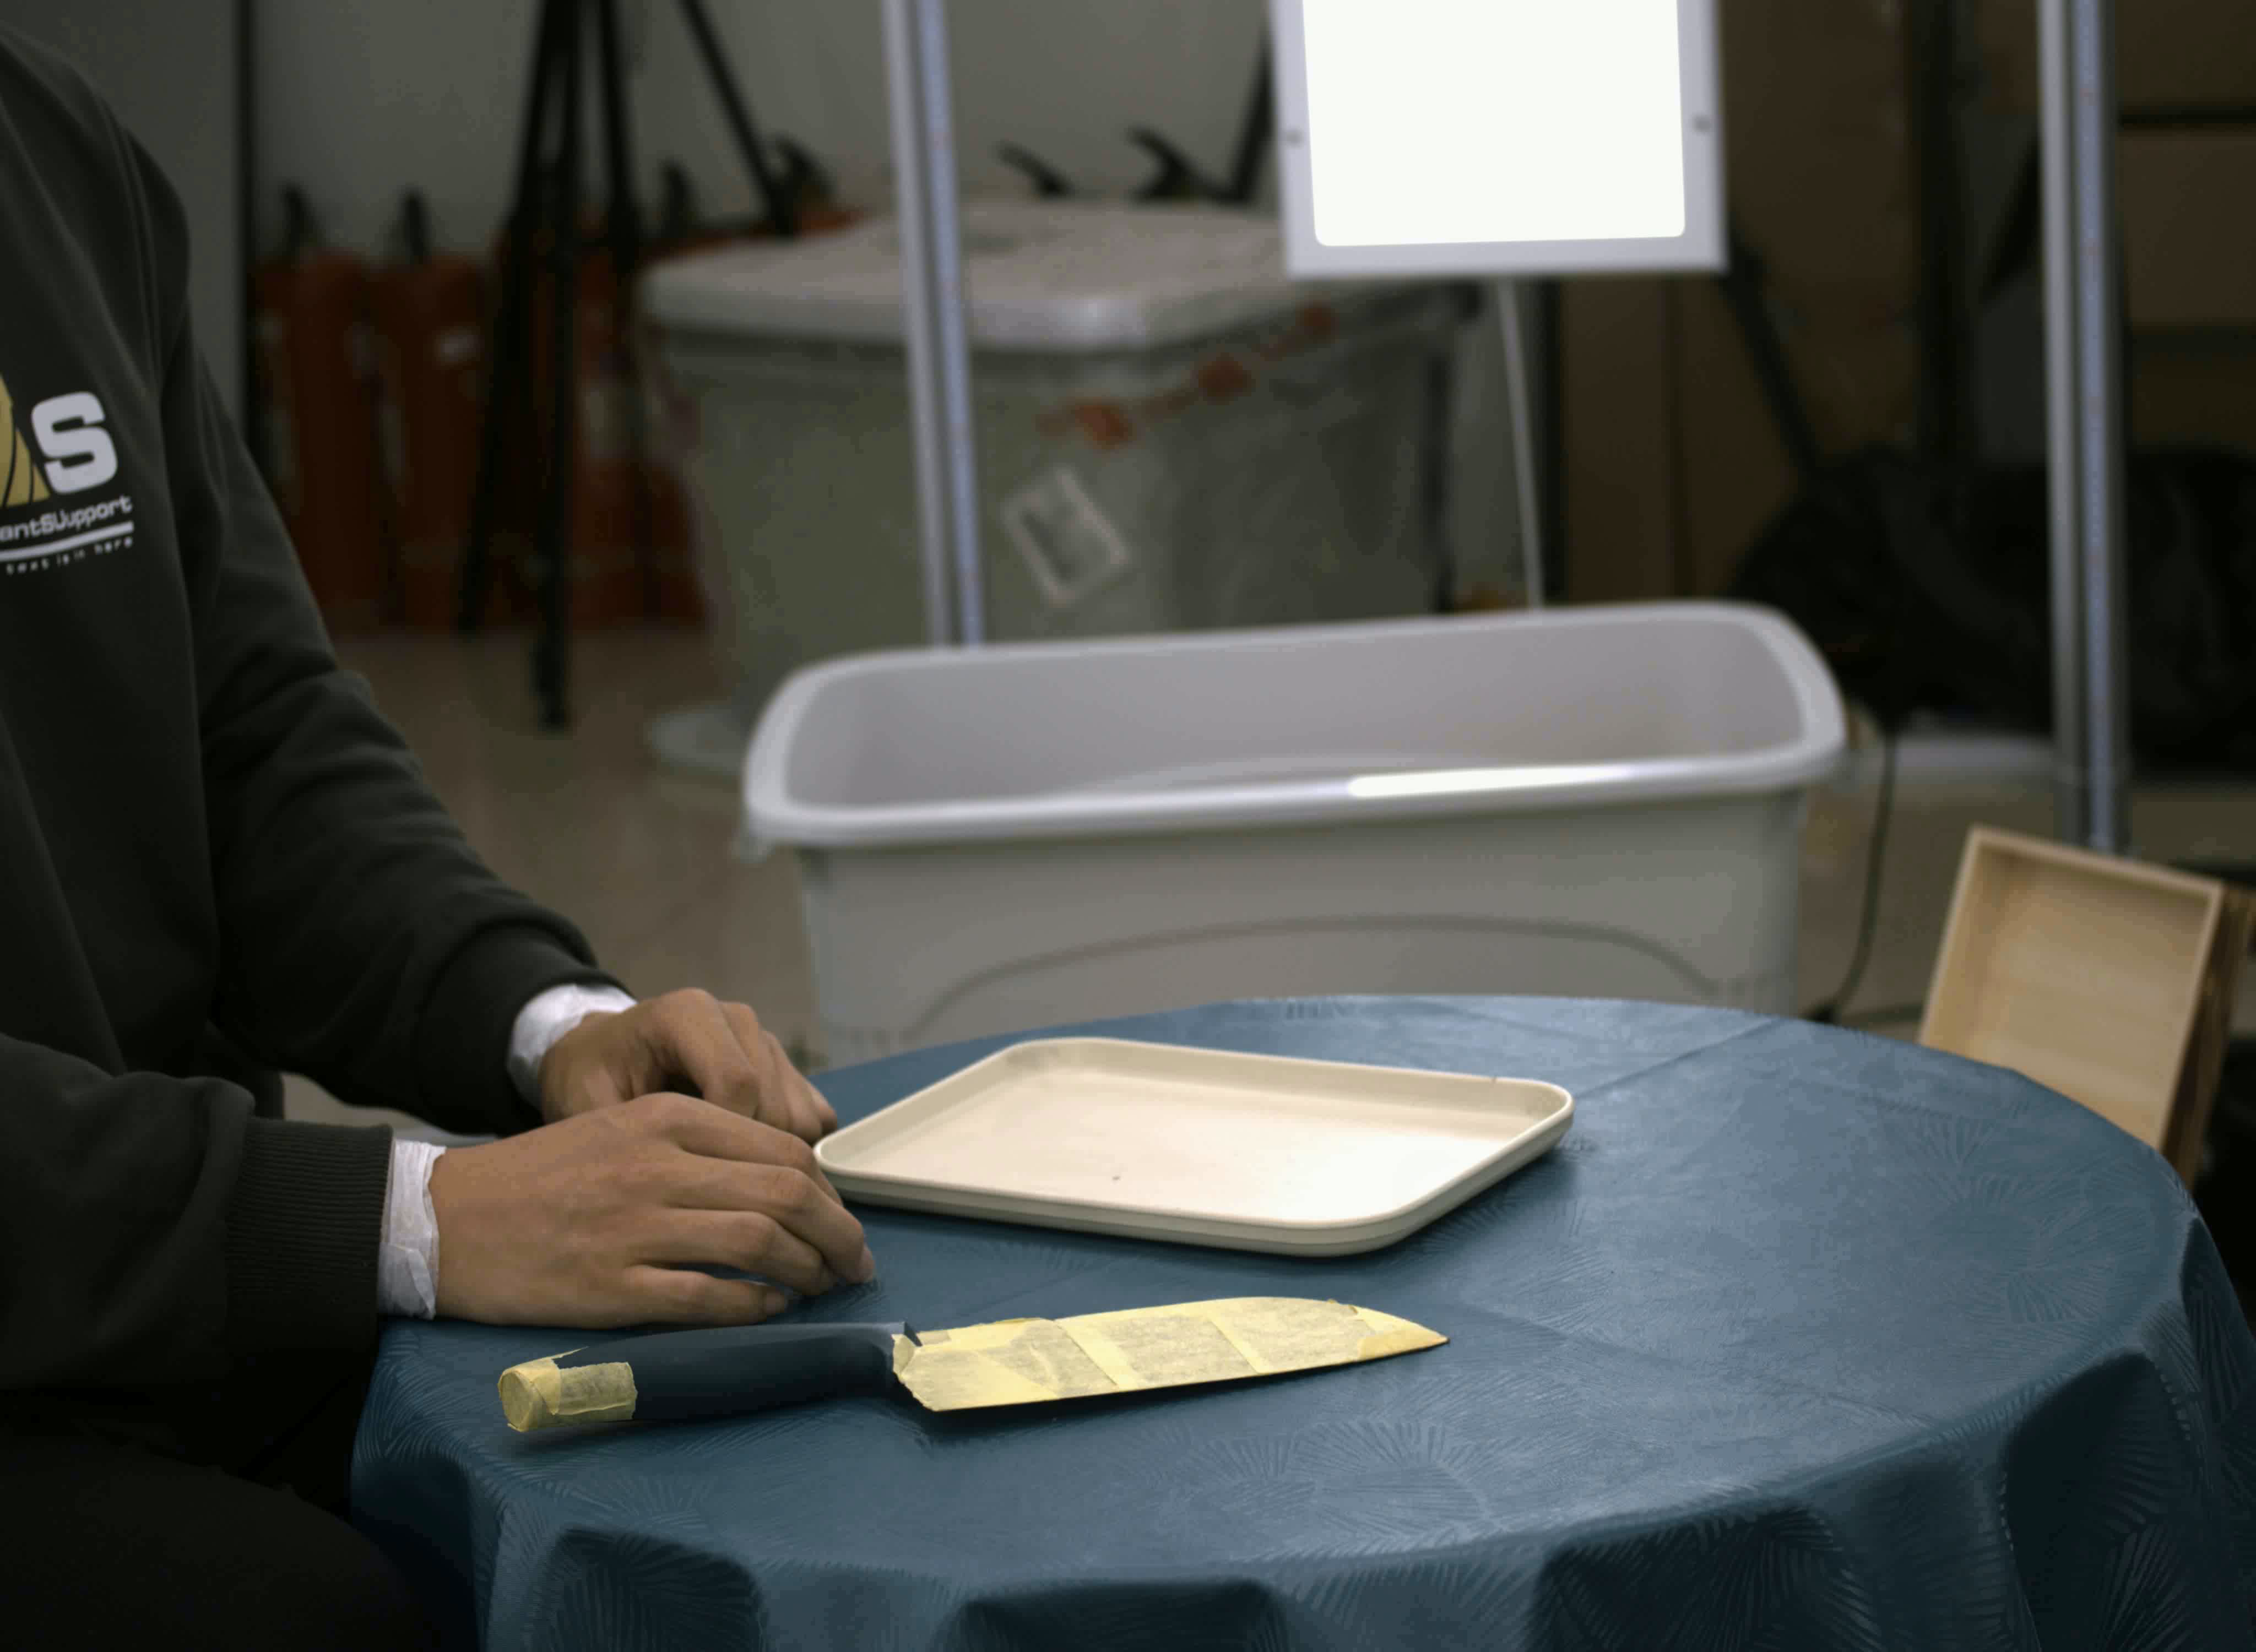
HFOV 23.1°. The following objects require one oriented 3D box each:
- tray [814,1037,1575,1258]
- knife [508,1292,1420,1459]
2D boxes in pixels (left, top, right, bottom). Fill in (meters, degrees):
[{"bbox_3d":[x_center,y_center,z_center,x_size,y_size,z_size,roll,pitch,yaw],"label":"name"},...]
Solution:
[{"bbox_3d":[0.024,0.111,1.920,0.244,0.017,0.167,4,17,34],"label":"tray"},{"bbox_3d":[-0.048,0.170,1.714,0.286,0.027,0.081,-7,12,-9],"label":"knife"}]
